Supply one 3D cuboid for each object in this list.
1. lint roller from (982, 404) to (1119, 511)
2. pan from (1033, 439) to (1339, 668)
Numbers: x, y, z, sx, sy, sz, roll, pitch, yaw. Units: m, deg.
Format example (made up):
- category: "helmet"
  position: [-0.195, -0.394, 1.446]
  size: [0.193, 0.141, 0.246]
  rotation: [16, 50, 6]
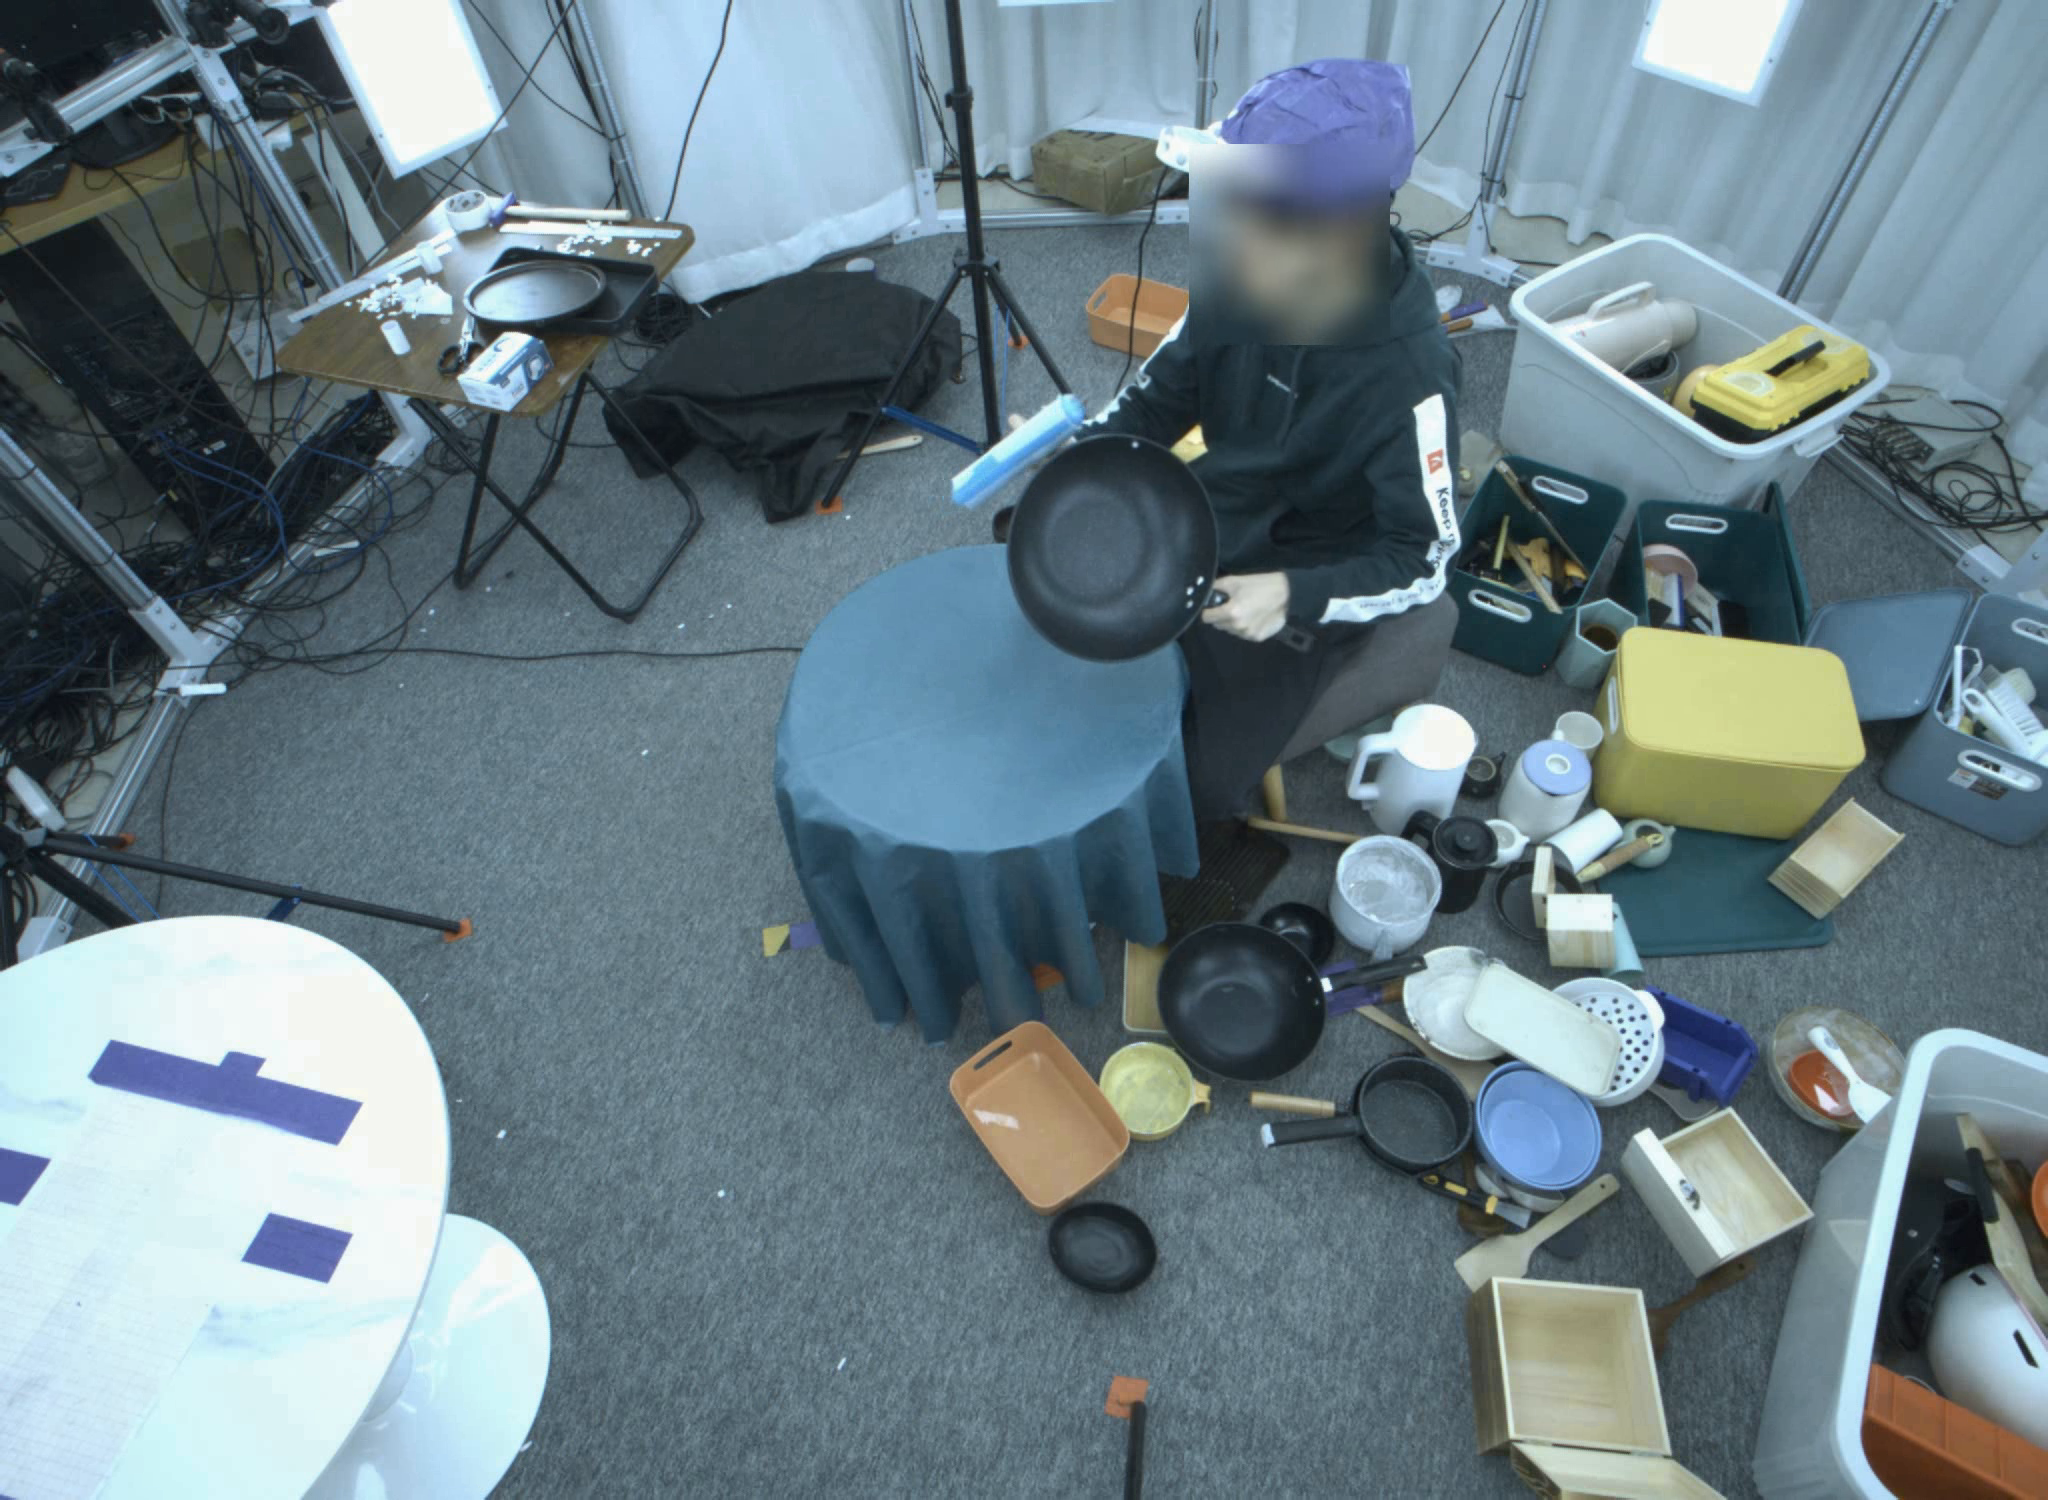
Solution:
- category: "lint roller"
  position: [0.054, -0.415, 1.746]
  size: [0.227, 0.182, 0.068]
  rotation: [-32, 87, 21]
- category: "pan"
  position: [0.226, -0.237, 1.707]
  size: [0.485, 0.110, 0.310]
  rotation: [24, 96, -21]
